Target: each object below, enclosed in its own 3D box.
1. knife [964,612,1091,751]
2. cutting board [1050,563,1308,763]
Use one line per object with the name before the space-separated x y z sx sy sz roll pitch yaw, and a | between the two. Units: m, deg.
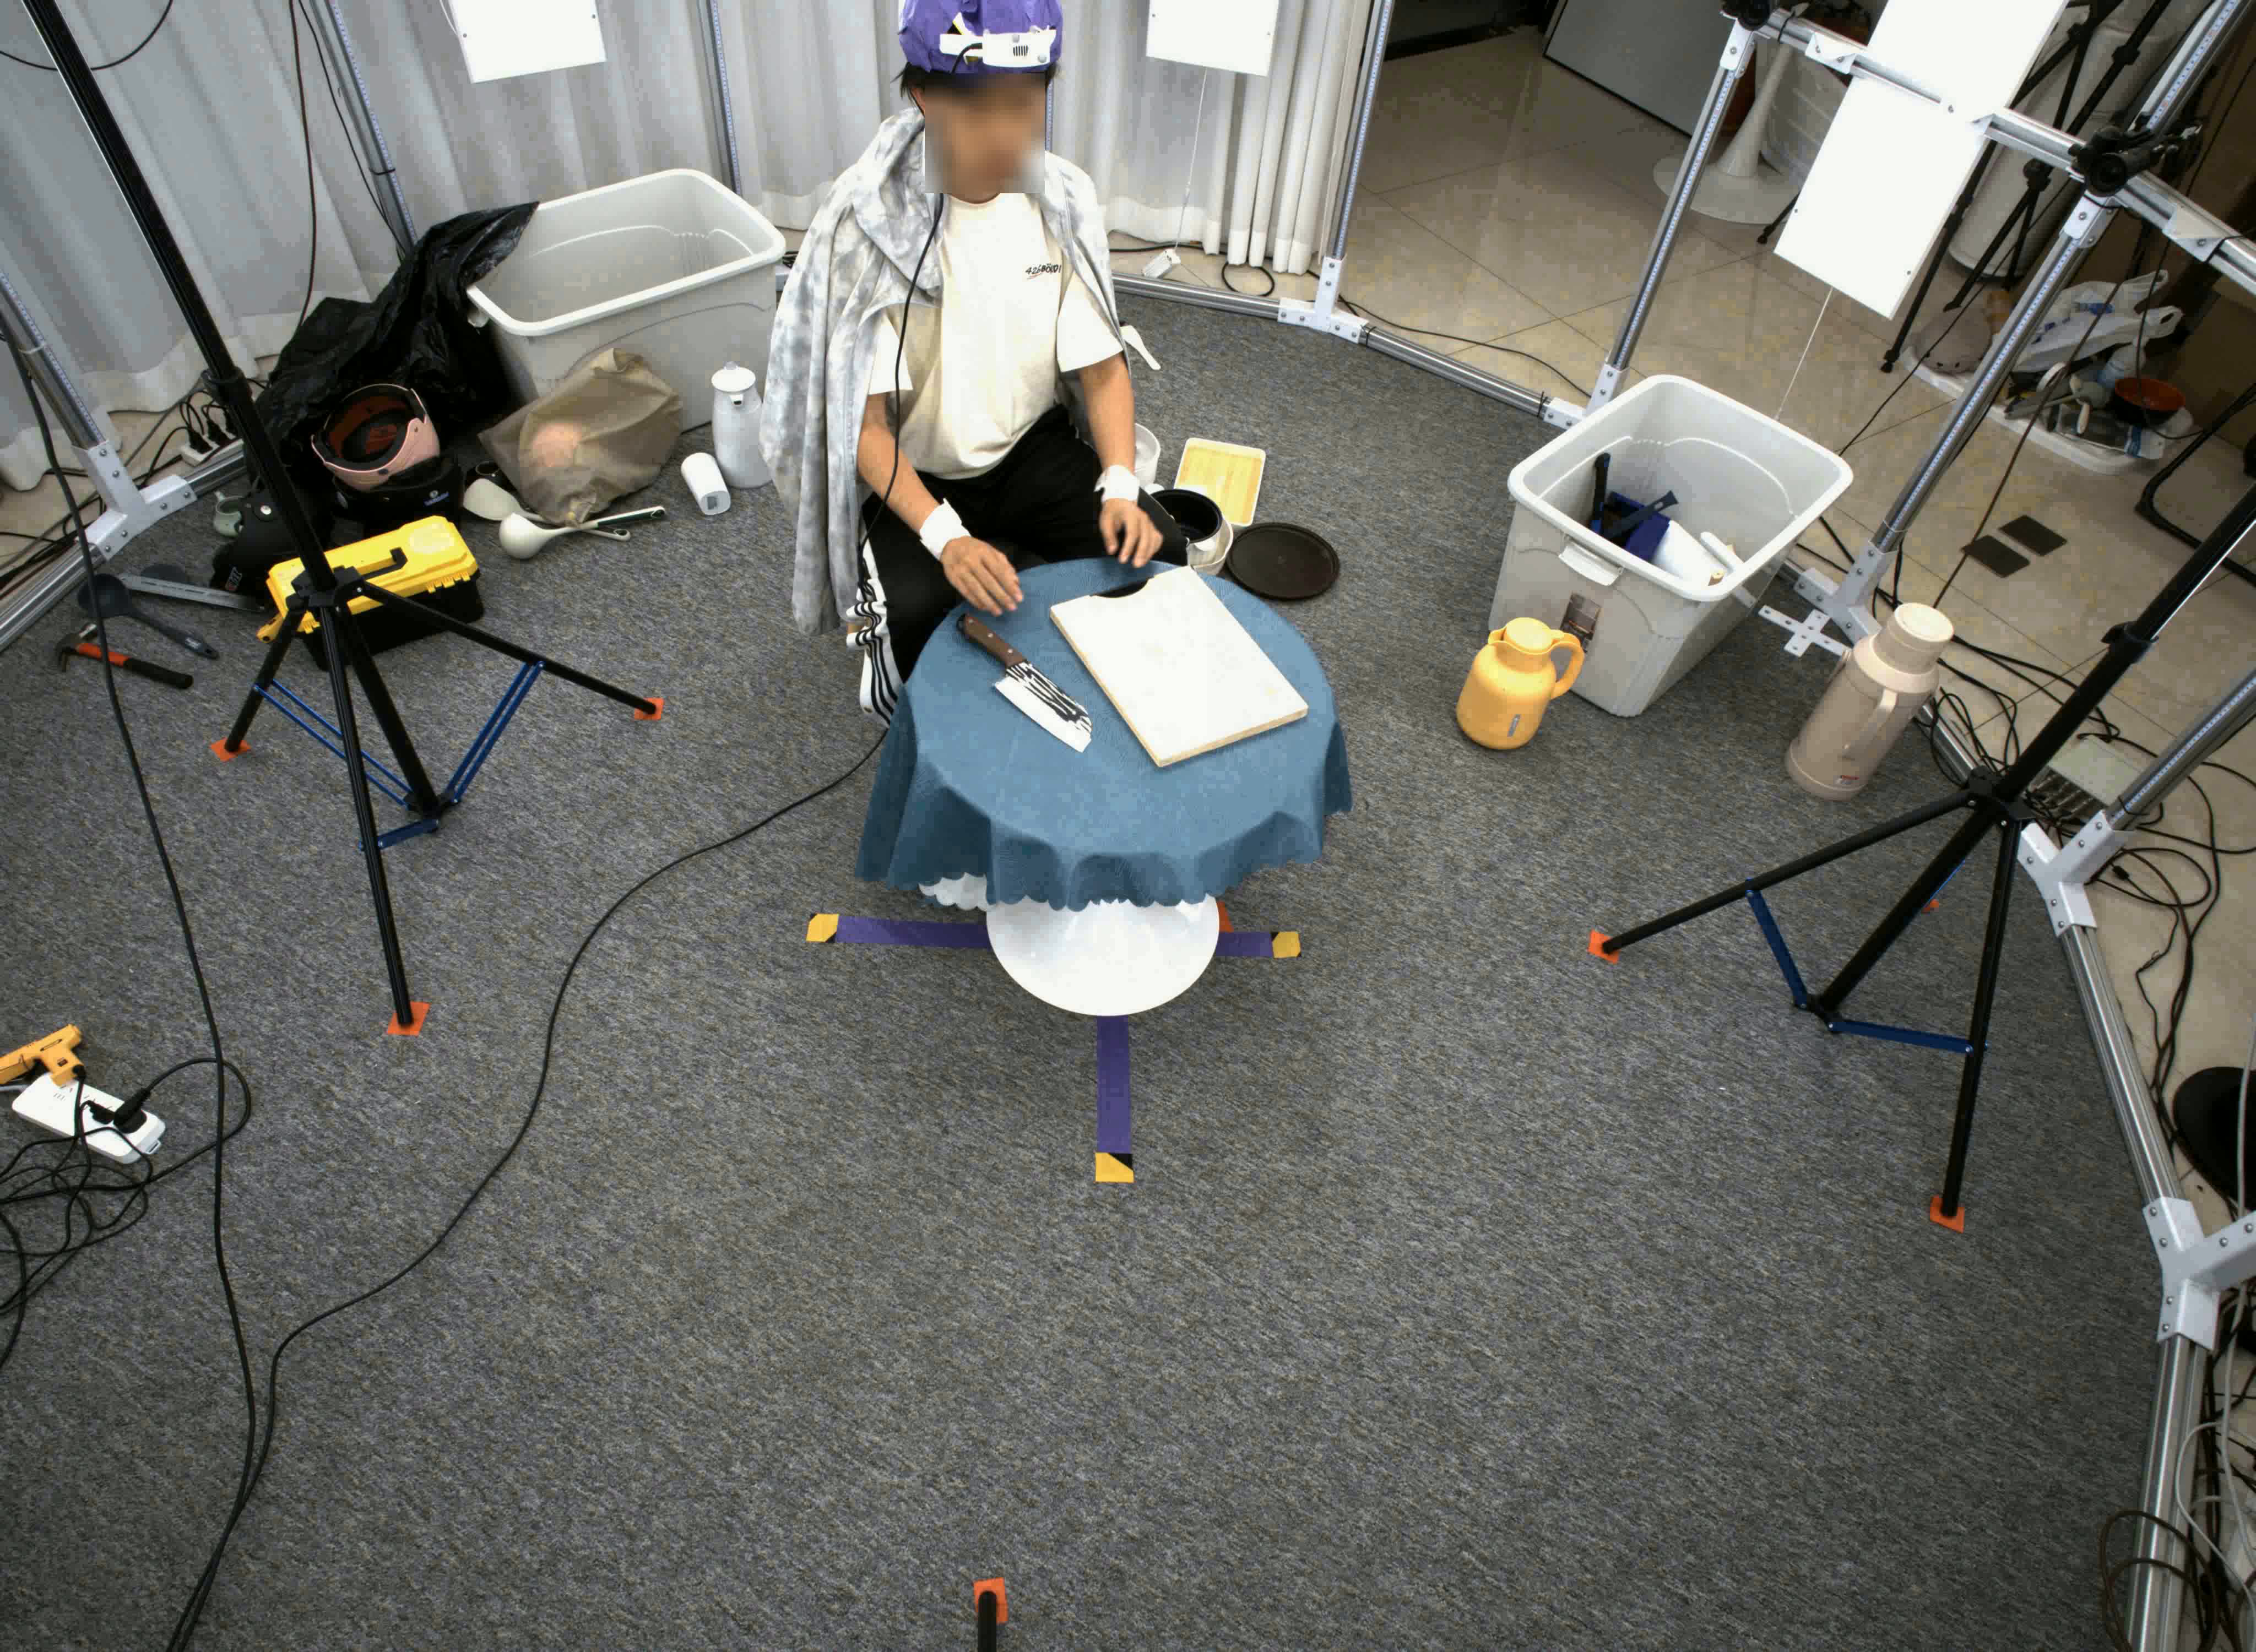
knife | -0.150 -0.206 1.817 0.068 0.023 0.304 -34 62 -27
cutting board | 0.067 -0.245 1.869 0.251 0.023 0.356 -20 53 -21
